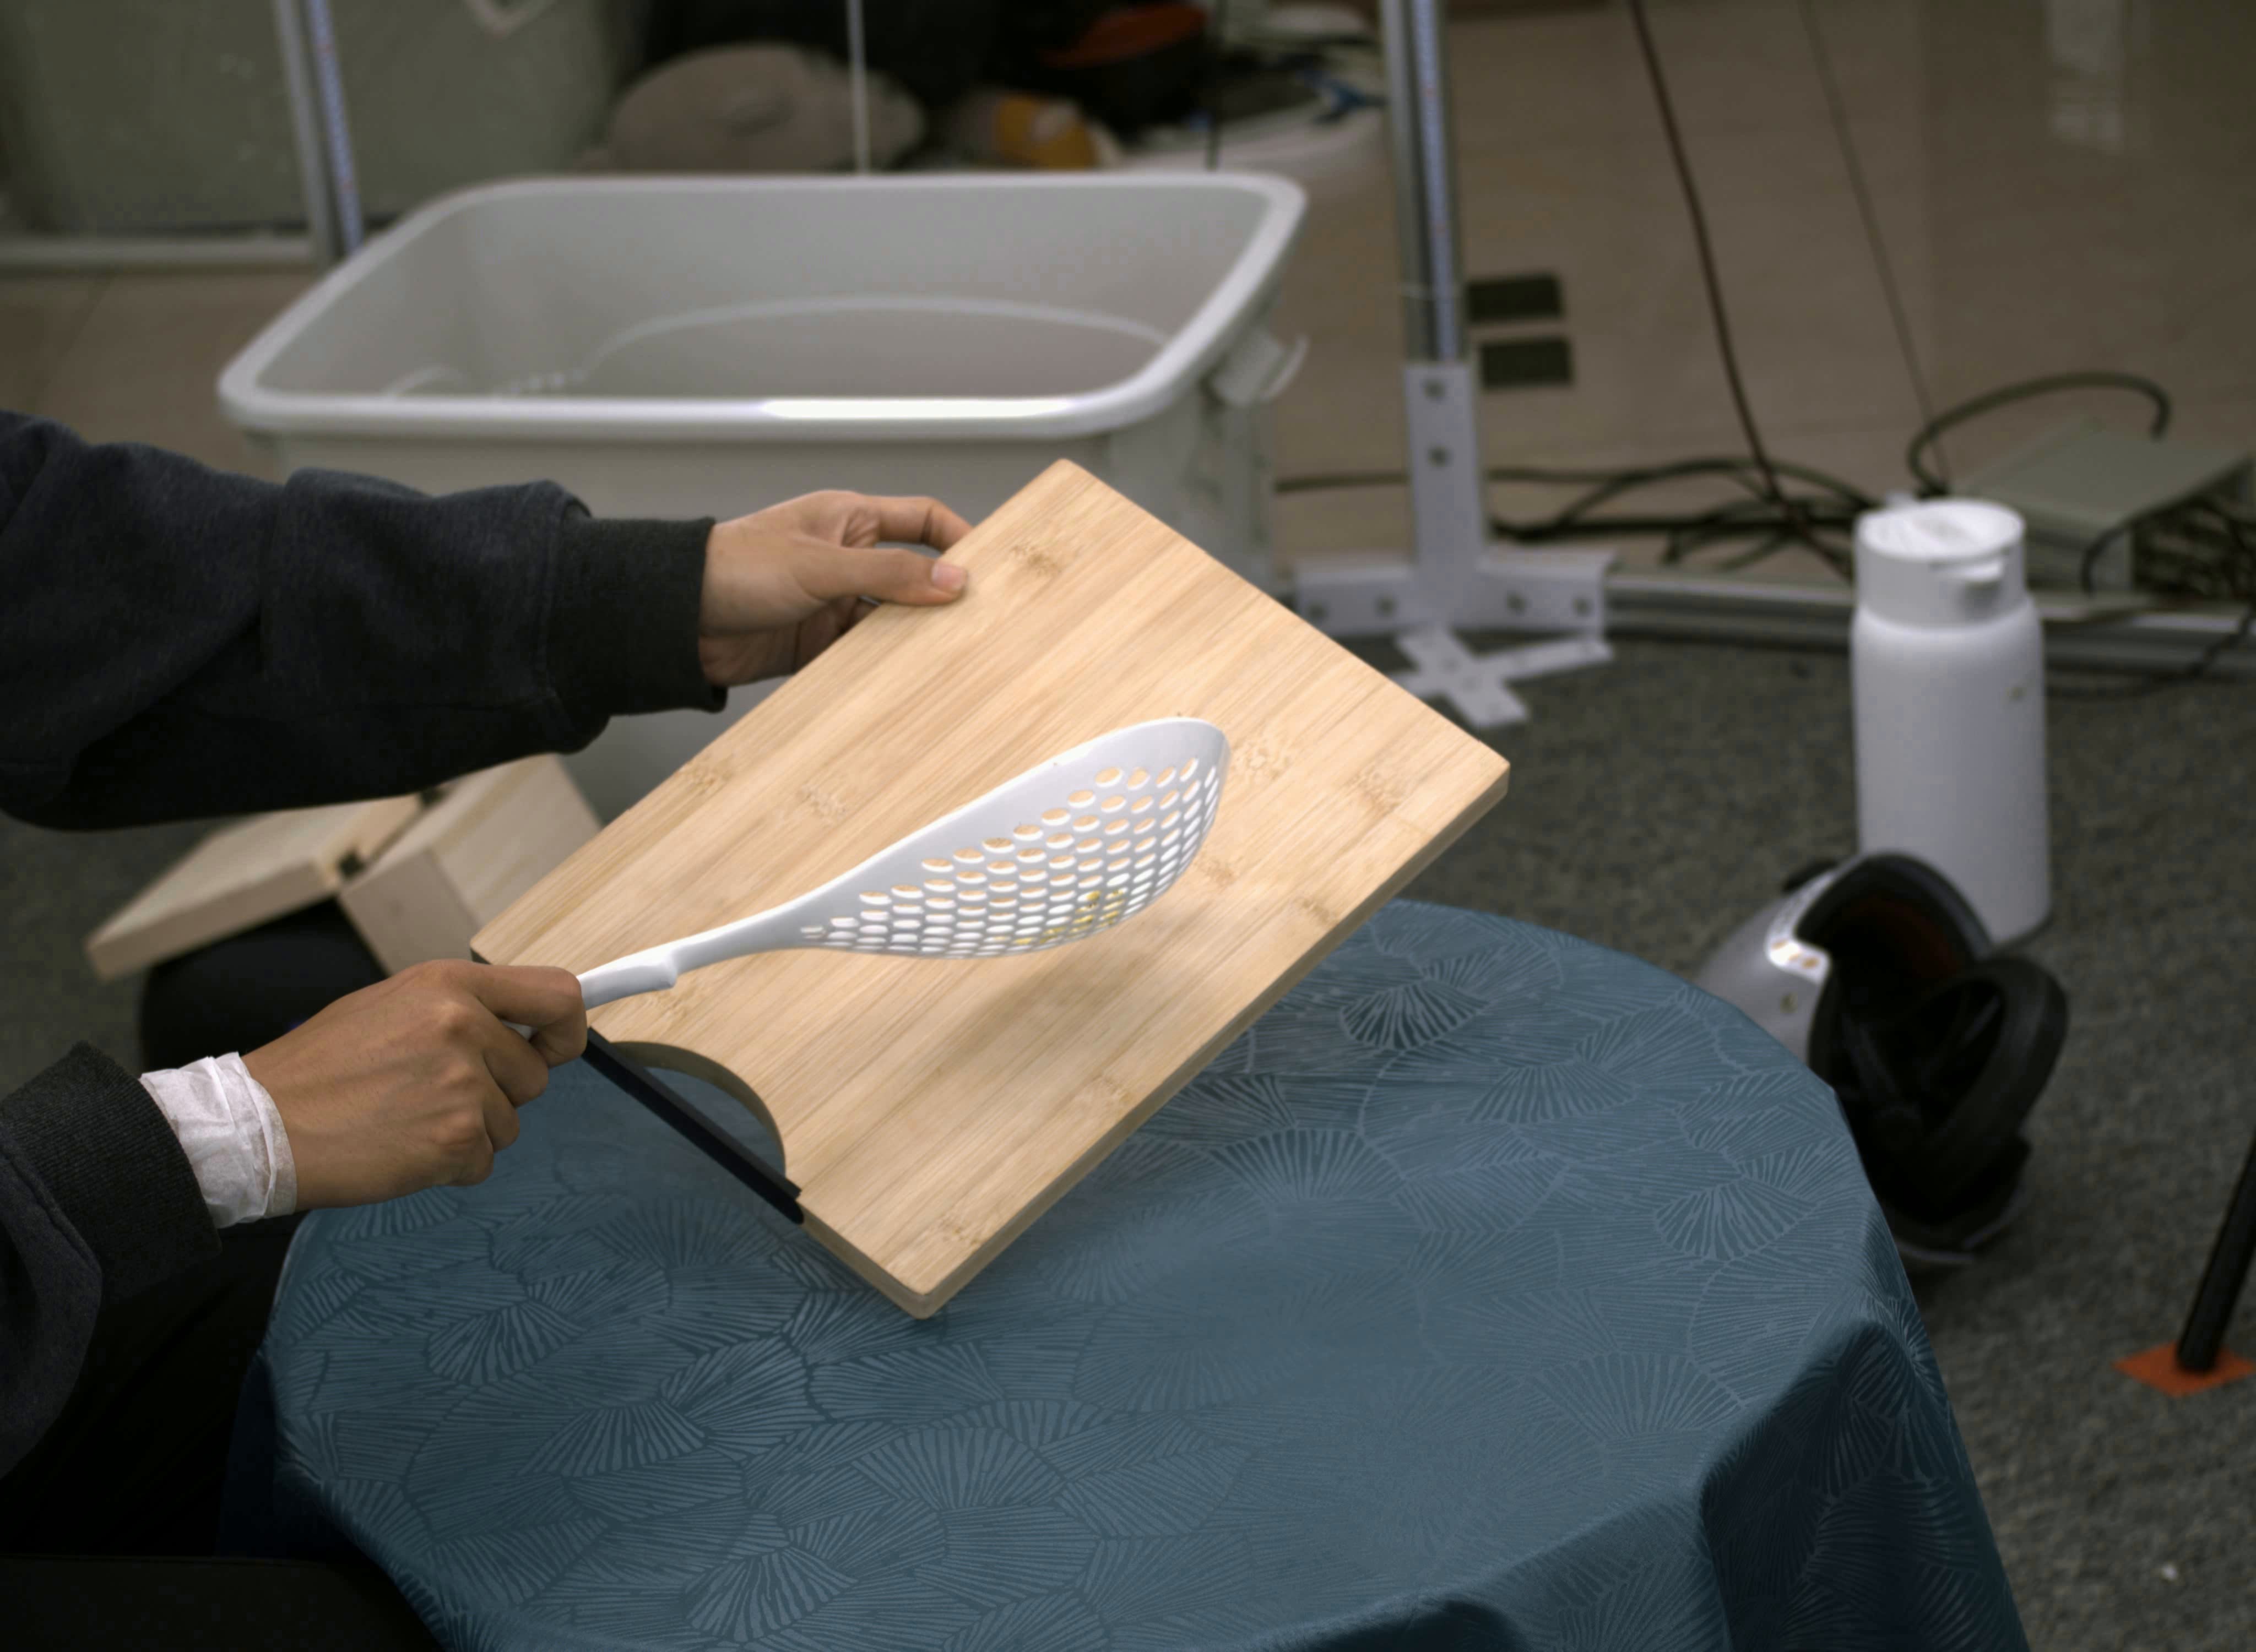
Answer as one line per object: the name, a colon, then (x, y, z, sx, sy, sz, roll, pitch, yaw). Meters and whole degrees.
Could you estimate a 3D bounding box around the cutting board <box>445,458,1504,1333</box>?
cutting board: (-0.054, 0.018, 2.189, 0.248, 0.024, 0.345, 35, 60, 23)

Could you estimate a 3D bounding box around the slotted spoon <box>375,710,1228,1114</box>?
slotted spoon: (-0.114, 0.041, 2.039, 0.346, 0.139, 0.050, -14, 66, -21)
